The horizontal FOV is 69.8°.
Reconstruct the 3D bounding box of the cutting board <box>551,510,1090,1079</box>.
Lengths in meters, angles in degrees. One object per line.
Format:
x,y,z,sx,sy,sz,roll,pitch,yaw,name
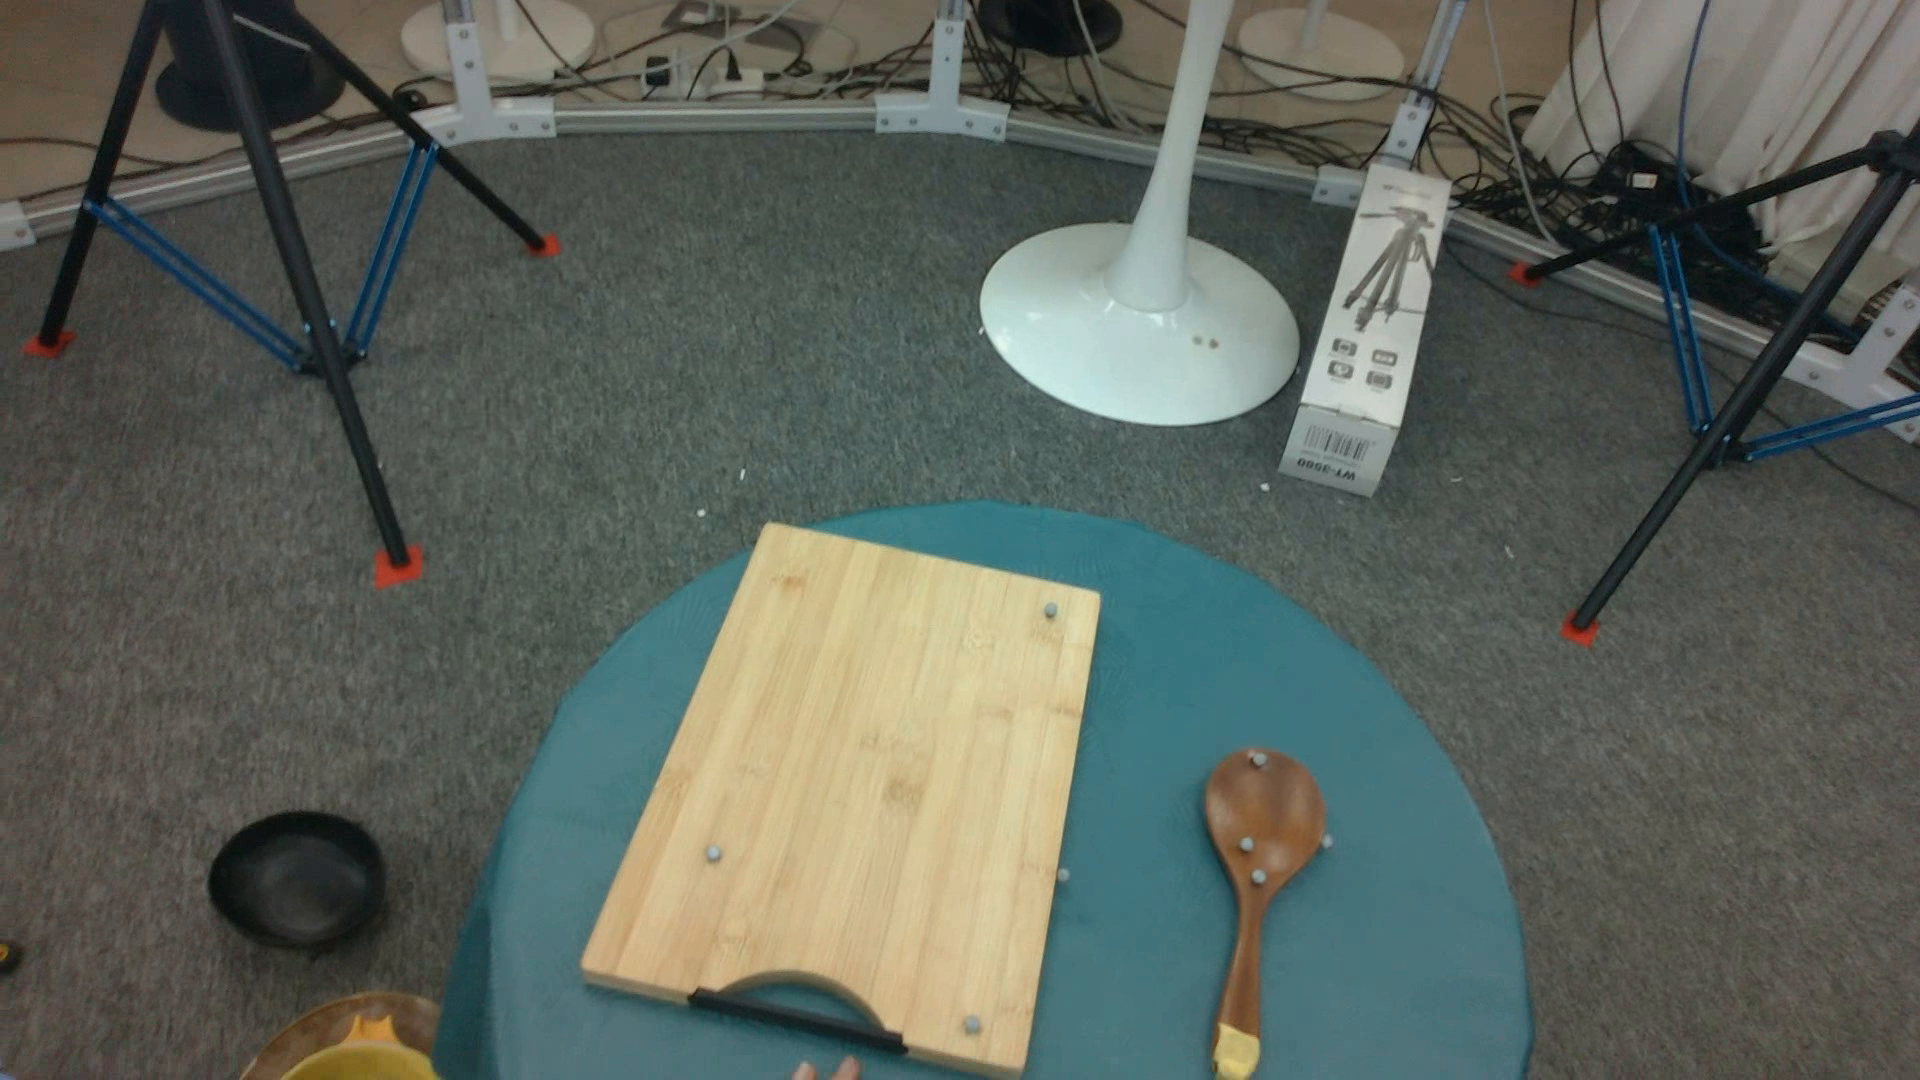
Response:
-0.063,0.134,0.836,0.250,0.023,0.350,11,47,2,cutting board

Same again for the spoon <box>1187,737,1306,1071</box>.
0.160,0.205,0.804,0.075,0.017,0.217,16,47,4,spoon
